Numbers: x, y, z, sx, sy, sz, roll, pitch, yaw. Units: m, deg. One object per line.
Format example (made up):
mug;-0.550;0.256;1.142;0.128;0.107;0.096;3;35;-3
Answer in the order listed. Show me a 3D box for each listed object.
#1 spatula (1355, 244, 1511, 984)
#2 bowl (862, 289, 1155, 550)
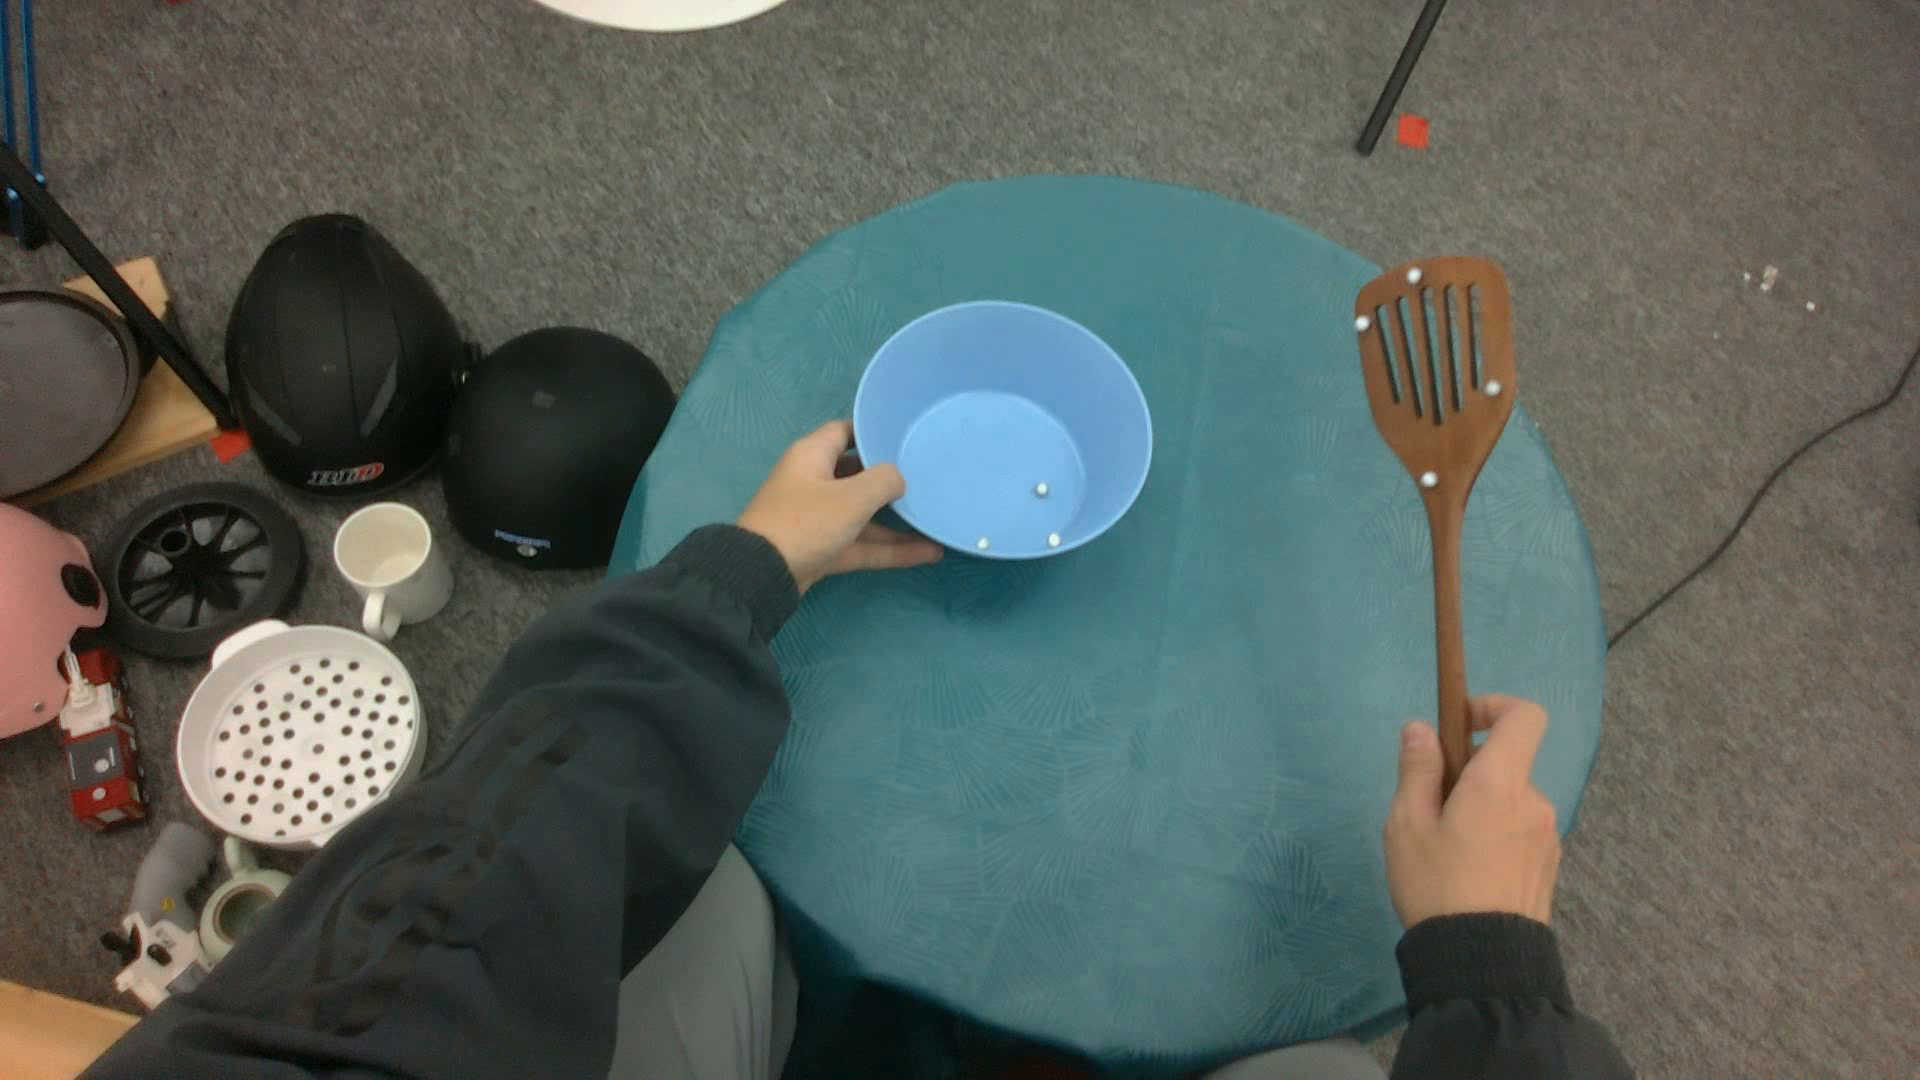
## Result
spatula;0.258;0.034;0.728;0.024;0.085;0.387;8;79;-46
bowl;0.026;-0.062;0.840;0.176;0.070;0.176;2;65;-5
